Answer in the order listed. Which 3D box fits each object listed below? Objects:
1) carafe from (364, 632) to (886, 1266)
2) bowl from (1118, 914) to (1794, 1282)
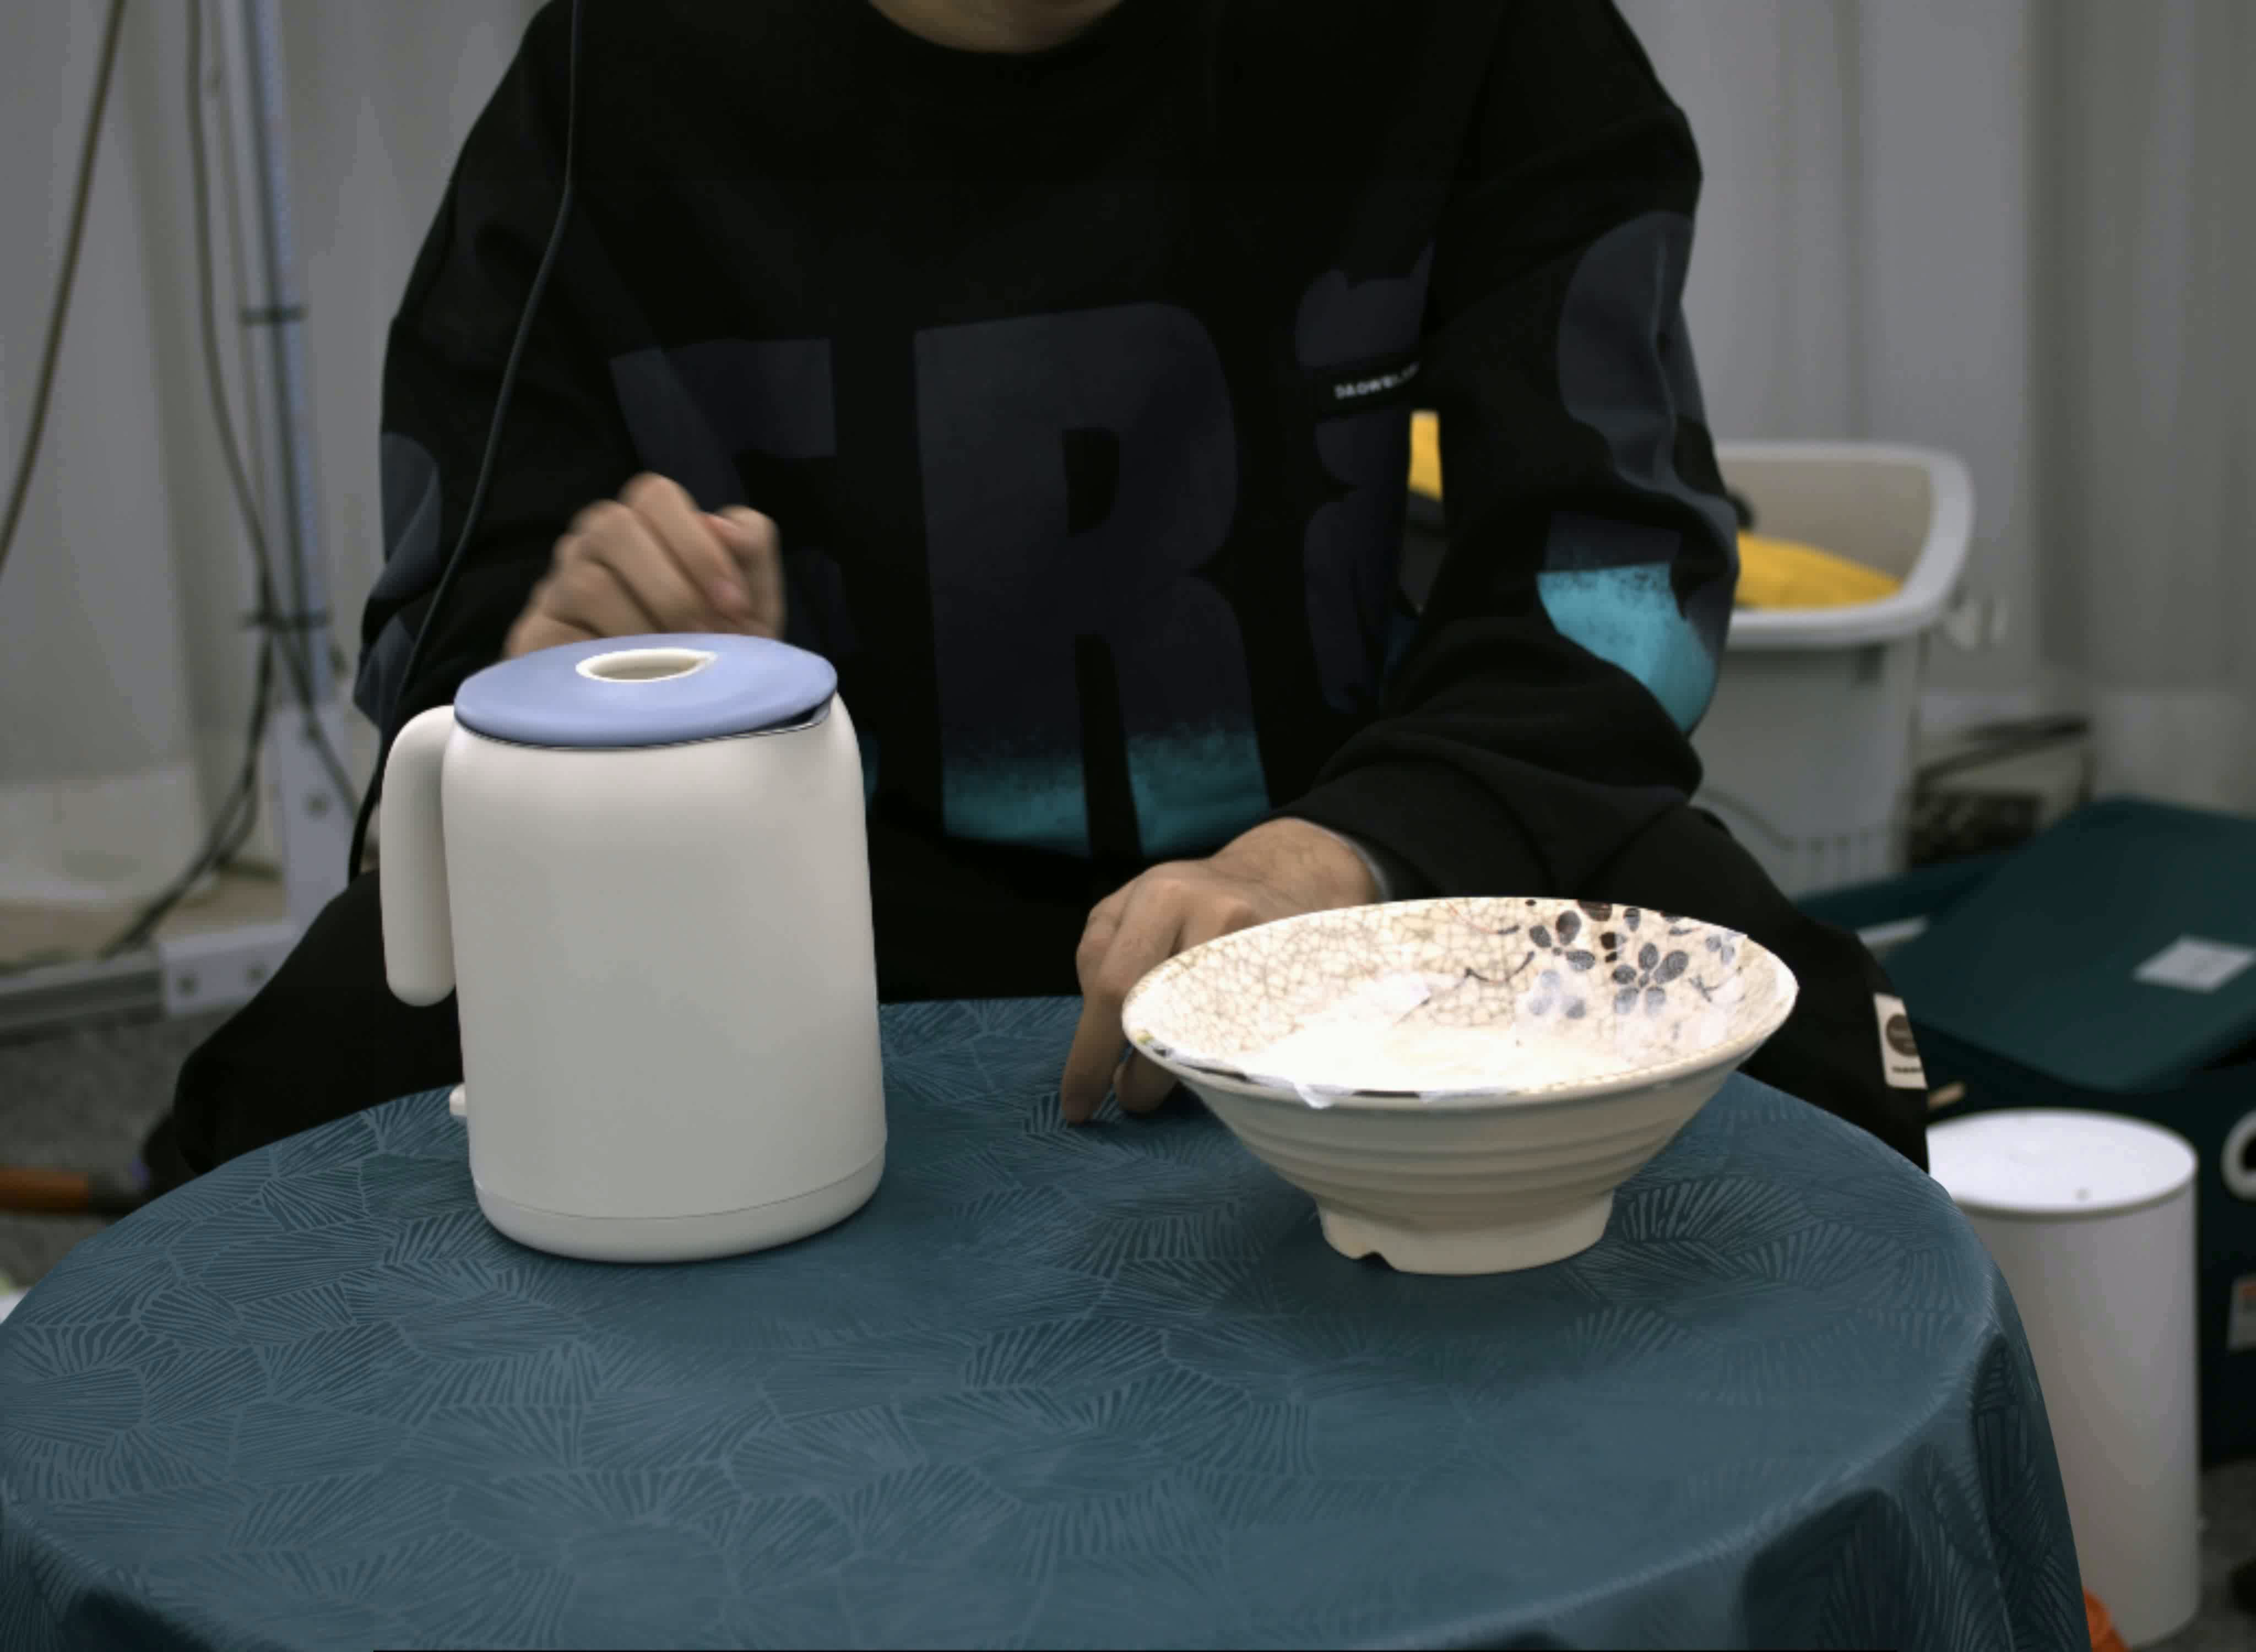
[{"bbox_3d":[-0.165,0.035,1.718,0.191,0.182,0.132,4,14,35],"label":"carafe"},{"bbox_3d":[0.099,0.088,1.650,0.203,0.078,0.205,-2,13,0],"label":"bowl"}]
